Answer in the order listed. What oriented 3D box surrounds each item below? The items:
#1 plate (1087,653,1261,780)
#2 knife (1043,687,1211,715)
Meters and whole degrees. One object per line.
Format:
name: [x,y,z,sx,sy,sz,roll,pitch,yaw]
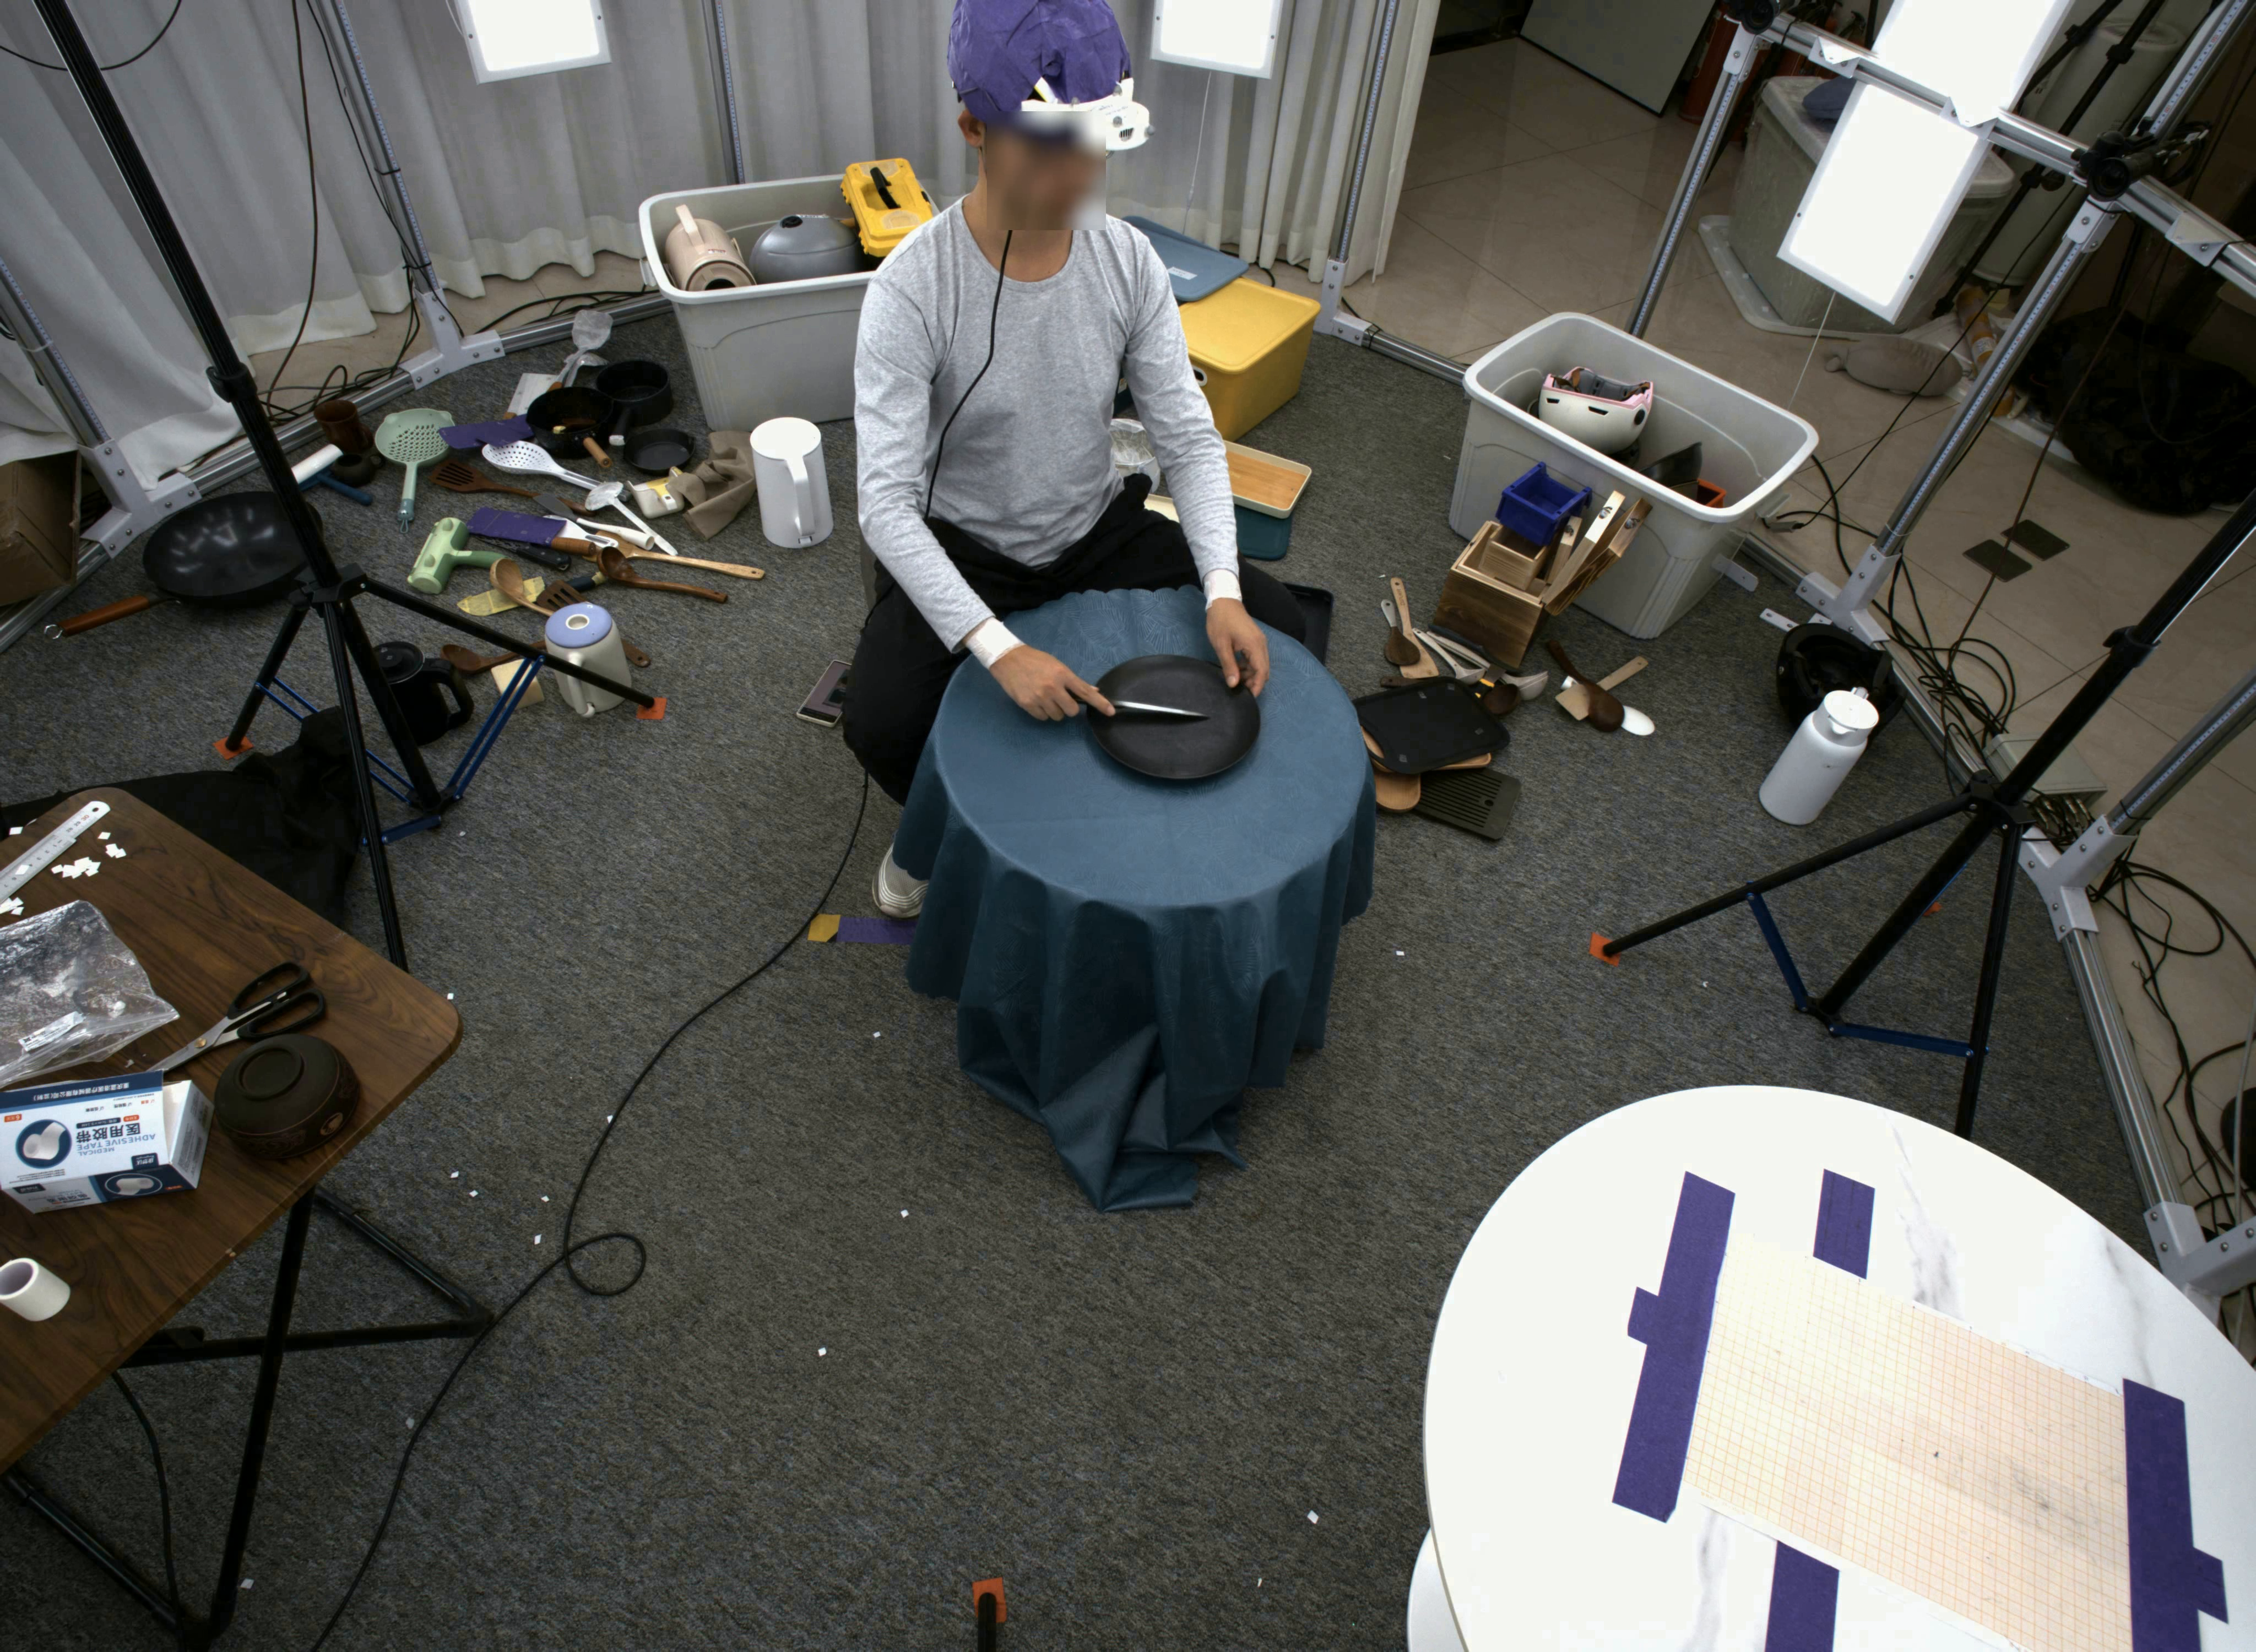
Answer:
plate: [0.063,-0.151,1.787,0.244,0.023,0.250,2,49,-3]
knife: [0.000,-0.169,1.781,0.237,0.016,0.025,7,31,-8]
